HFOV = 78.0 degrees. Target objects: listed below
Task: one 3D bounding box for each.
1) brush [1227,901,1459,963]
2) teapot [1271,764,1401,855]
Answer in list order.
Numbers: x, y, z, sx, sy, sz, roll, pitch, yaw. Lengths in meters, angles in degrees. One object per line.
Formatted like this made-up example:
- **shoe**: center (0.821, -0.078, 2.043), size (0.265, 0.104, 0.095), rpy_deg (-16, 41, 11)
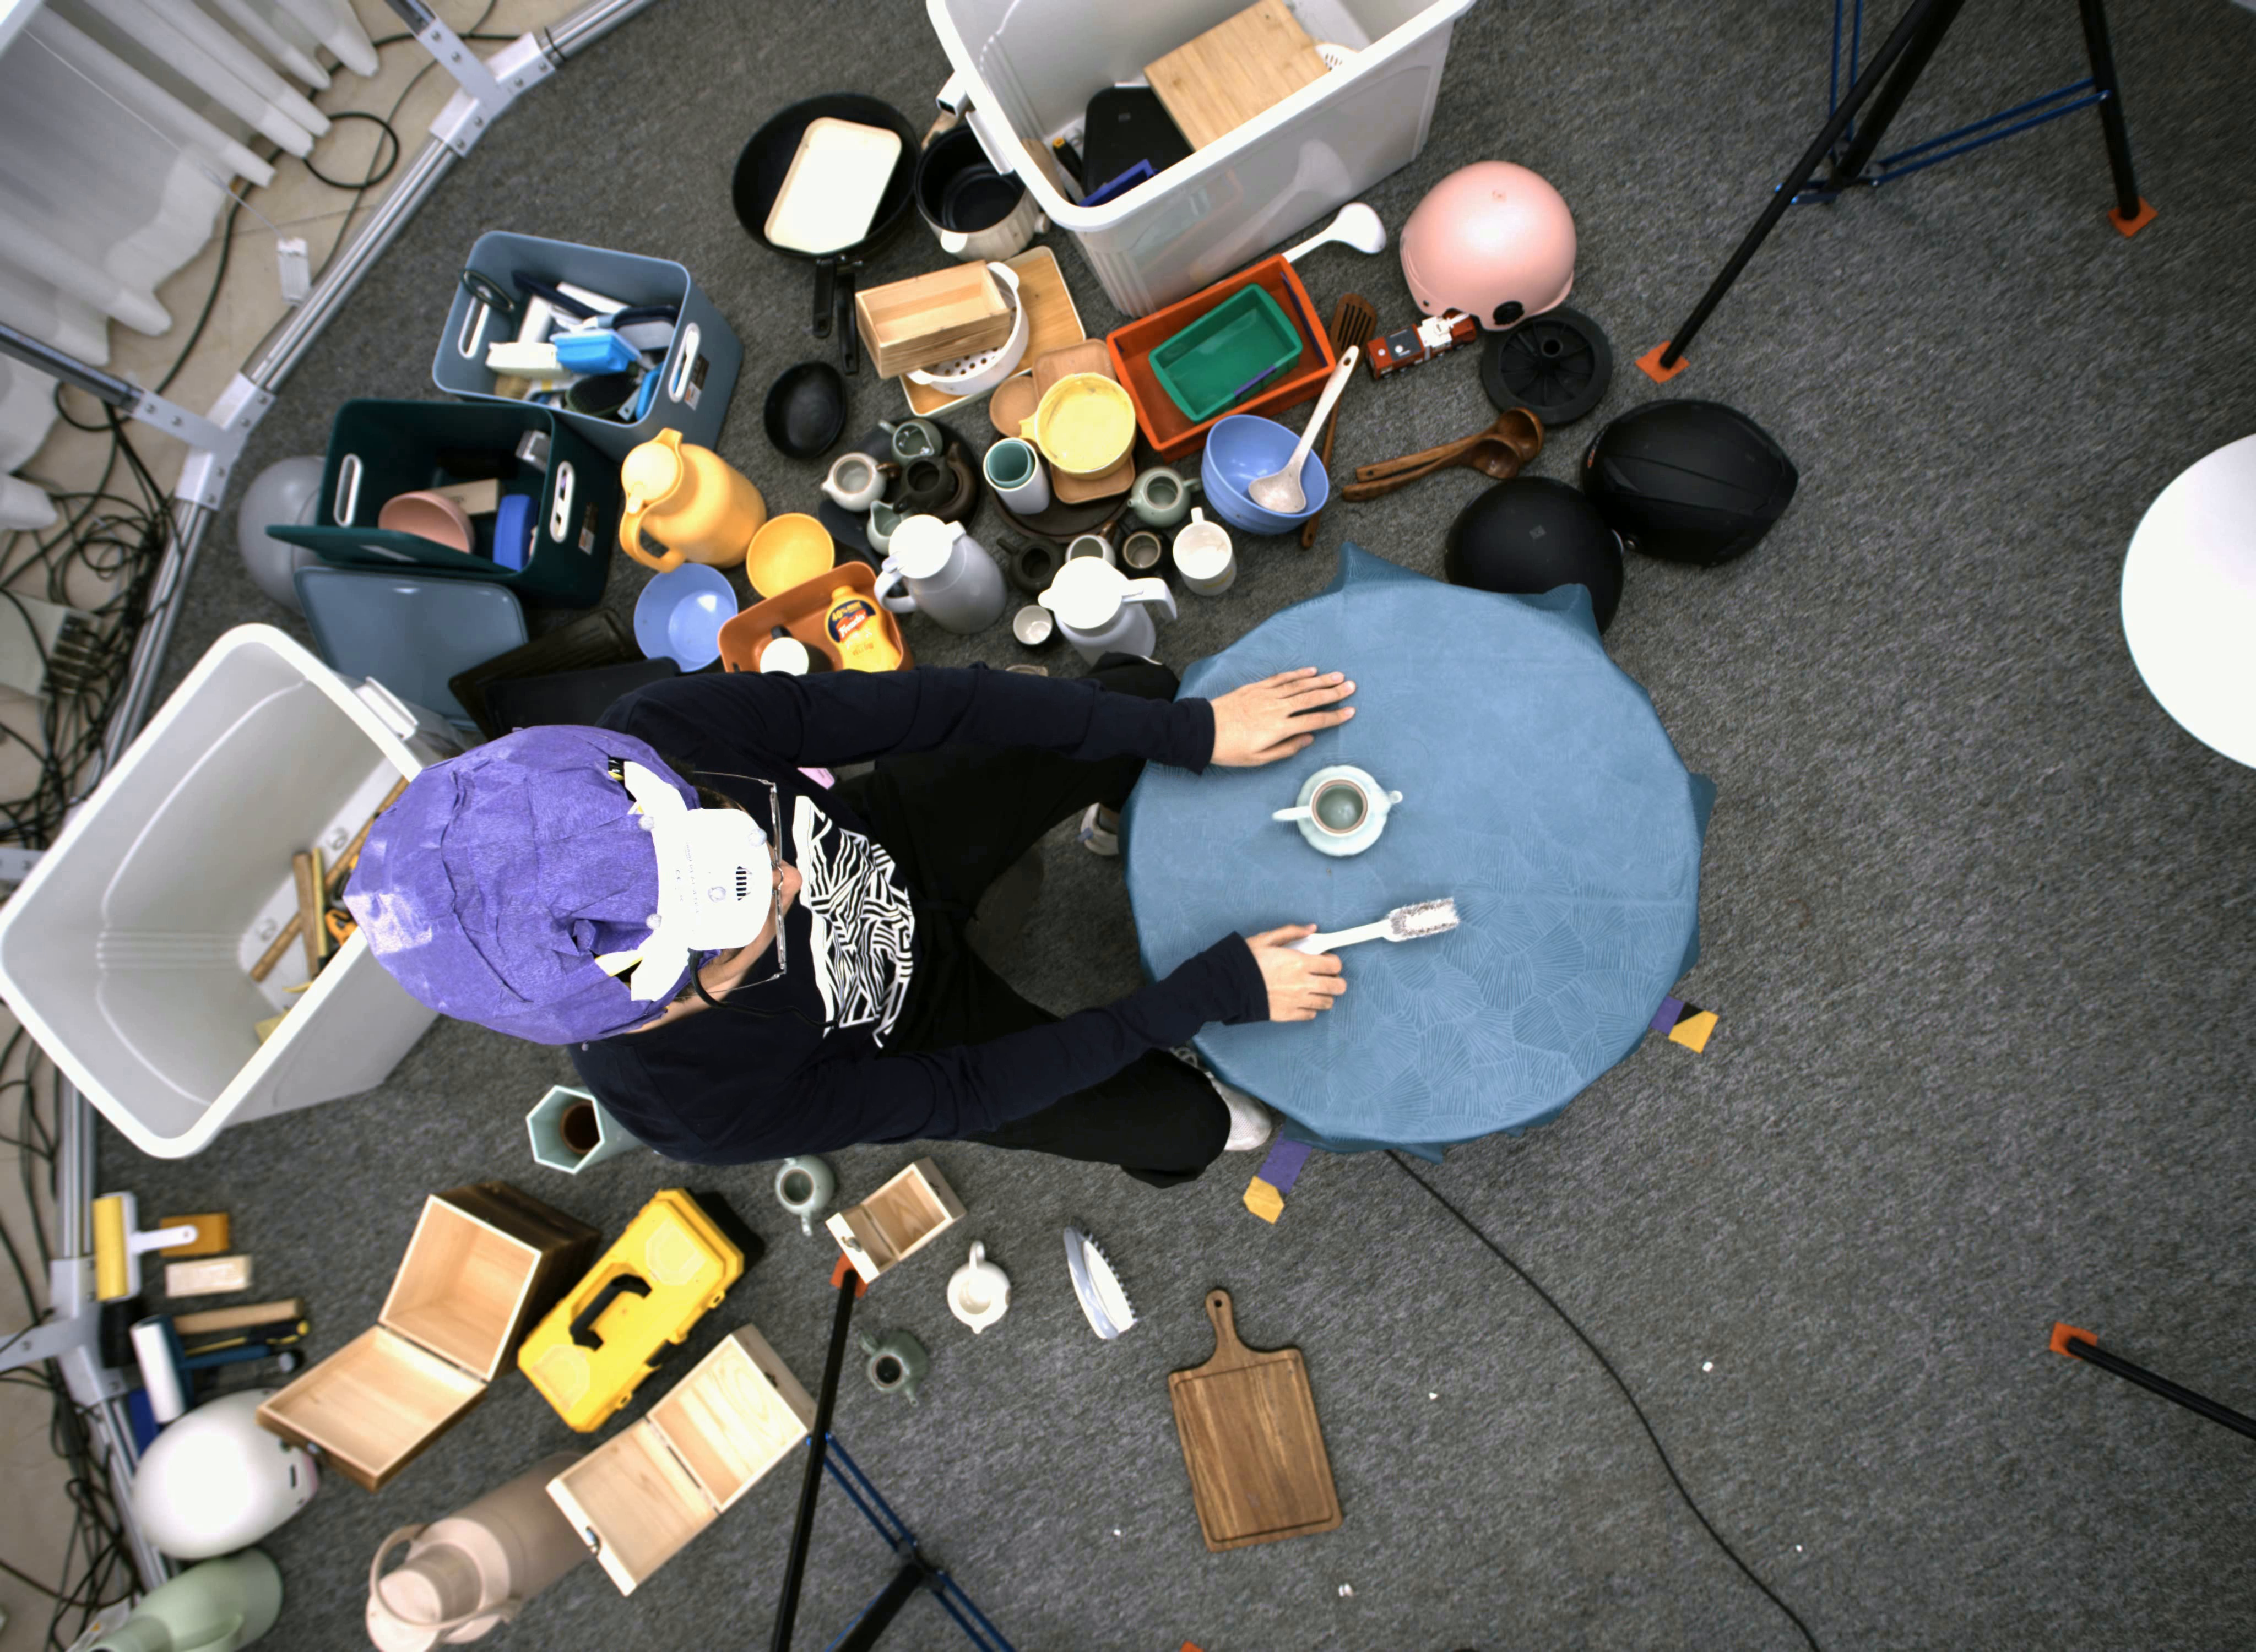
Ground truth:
- **brush**: center (0.221, 0.112, 1.442), size (0.245, 0.050, 0.034), rpy_deg (-11, 88, 9)
- **teapot**: center (0.217, -0.019, 1.442), size (0.137, 0.061, 0.096), rpy_deg (-11, 87, 9)
